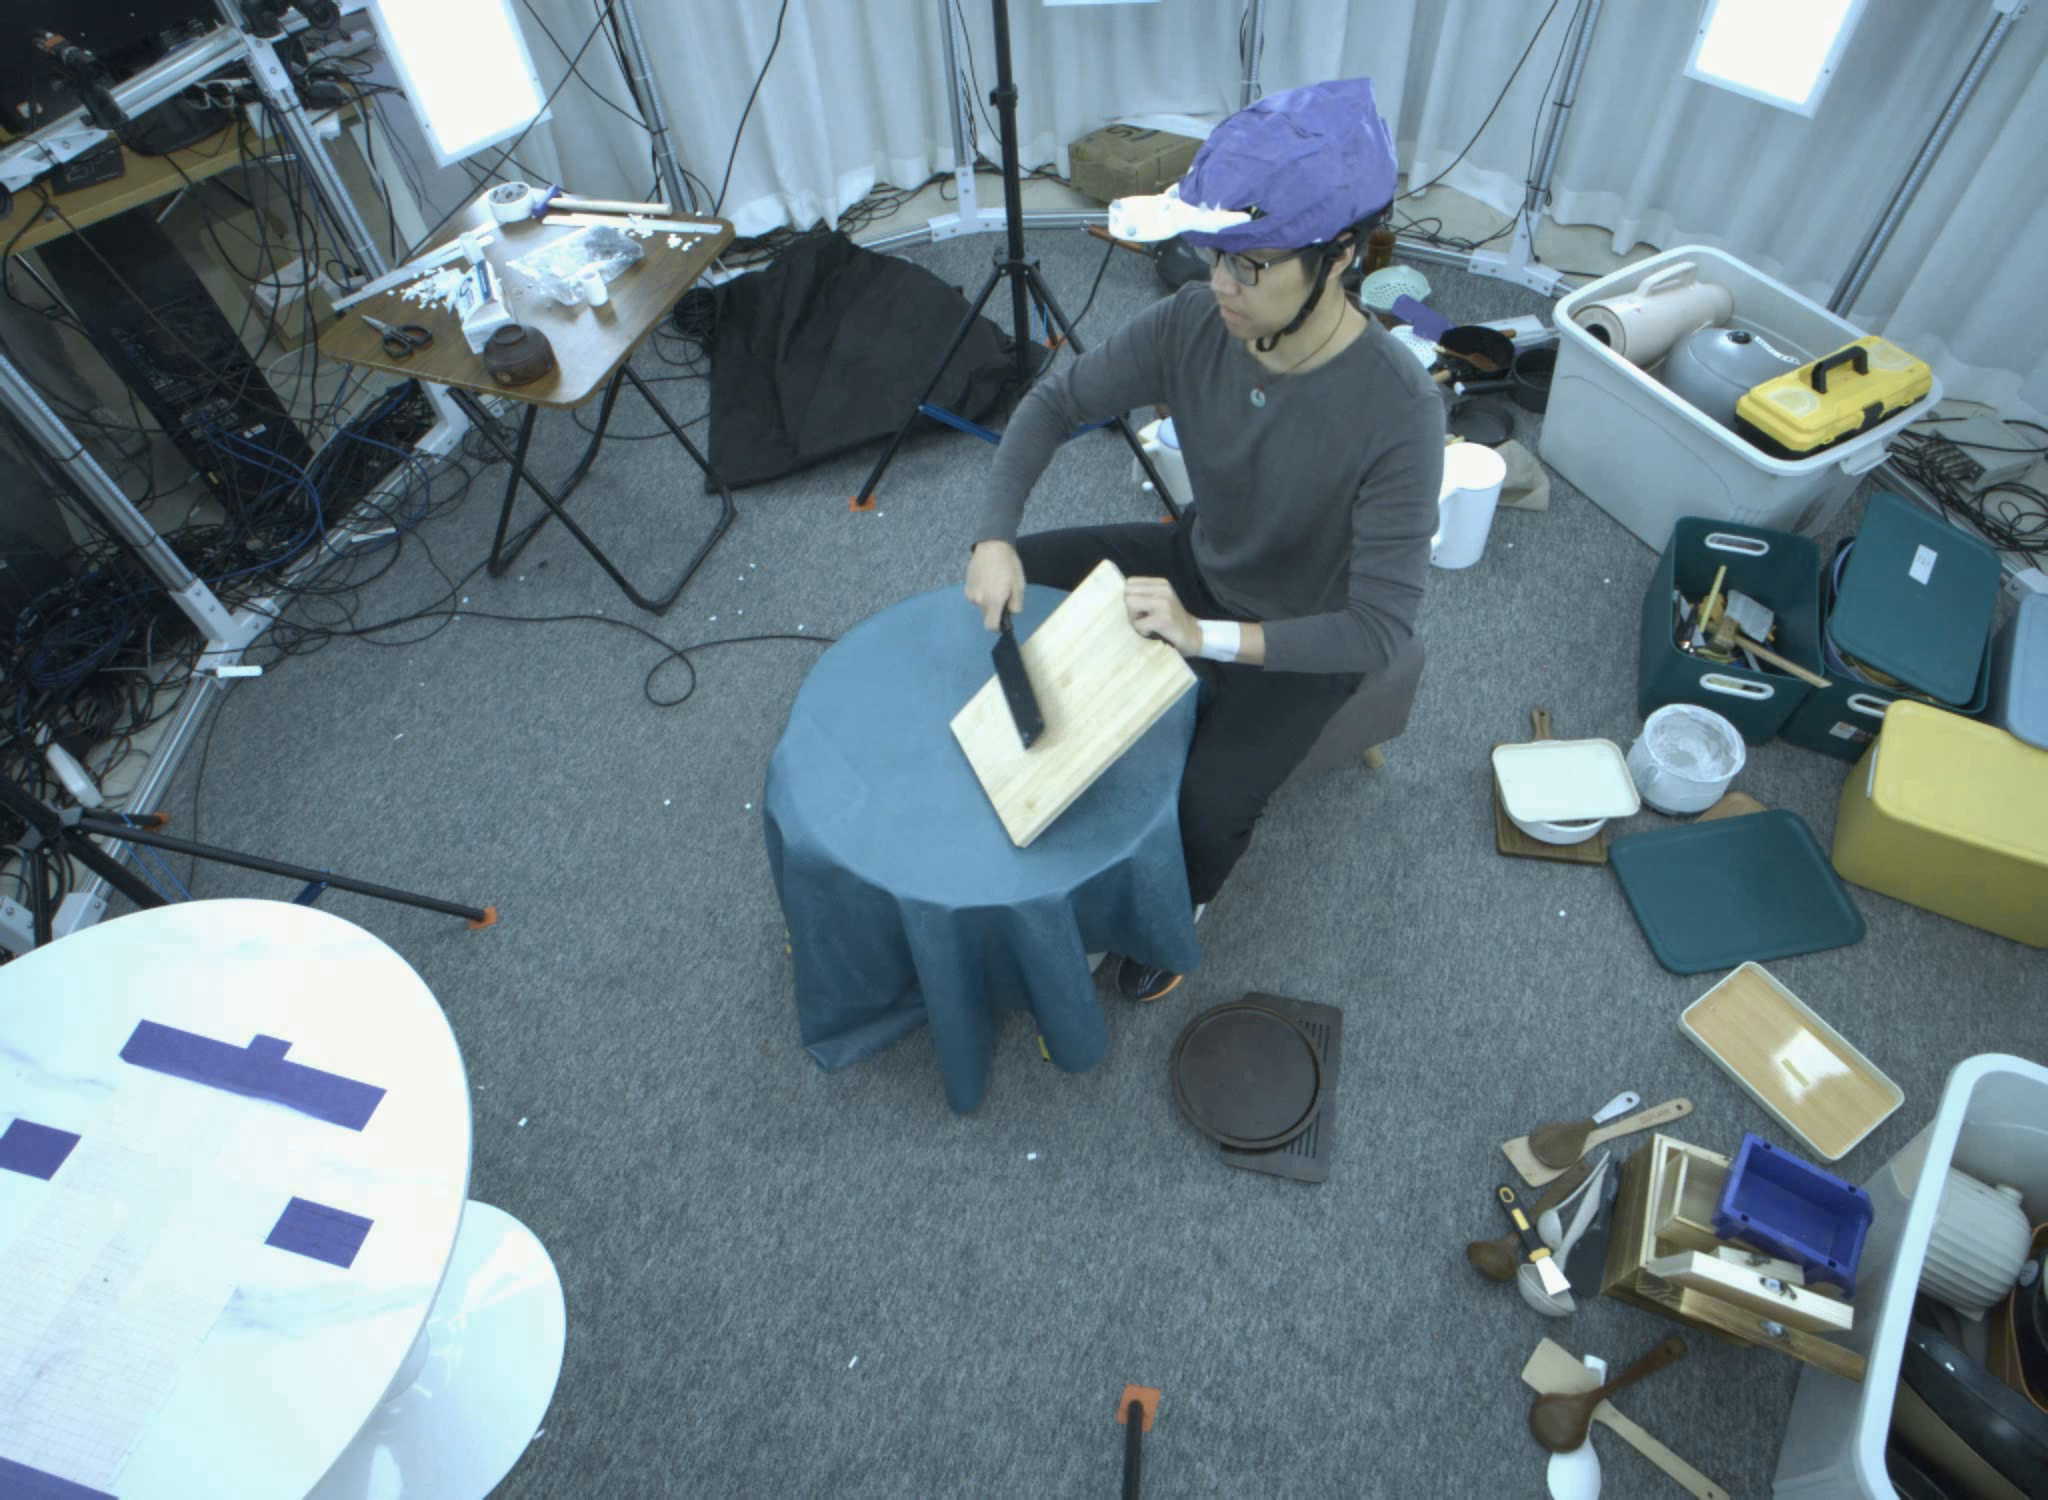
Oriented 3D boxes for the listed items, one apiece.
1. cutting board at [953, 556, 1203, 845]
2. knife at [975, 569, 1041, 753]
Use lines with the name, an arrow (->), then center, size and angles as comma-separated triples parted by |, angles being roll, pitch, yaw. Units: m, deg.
cutting board -> 0.061, -0.068, 1.696 | 0.347, 0.024, 0.246 | -45, 55, 20
knife -> -0.028, -0.136, 1.751 | 0.021, 0.080, 0.298 | 3, 60, -33
